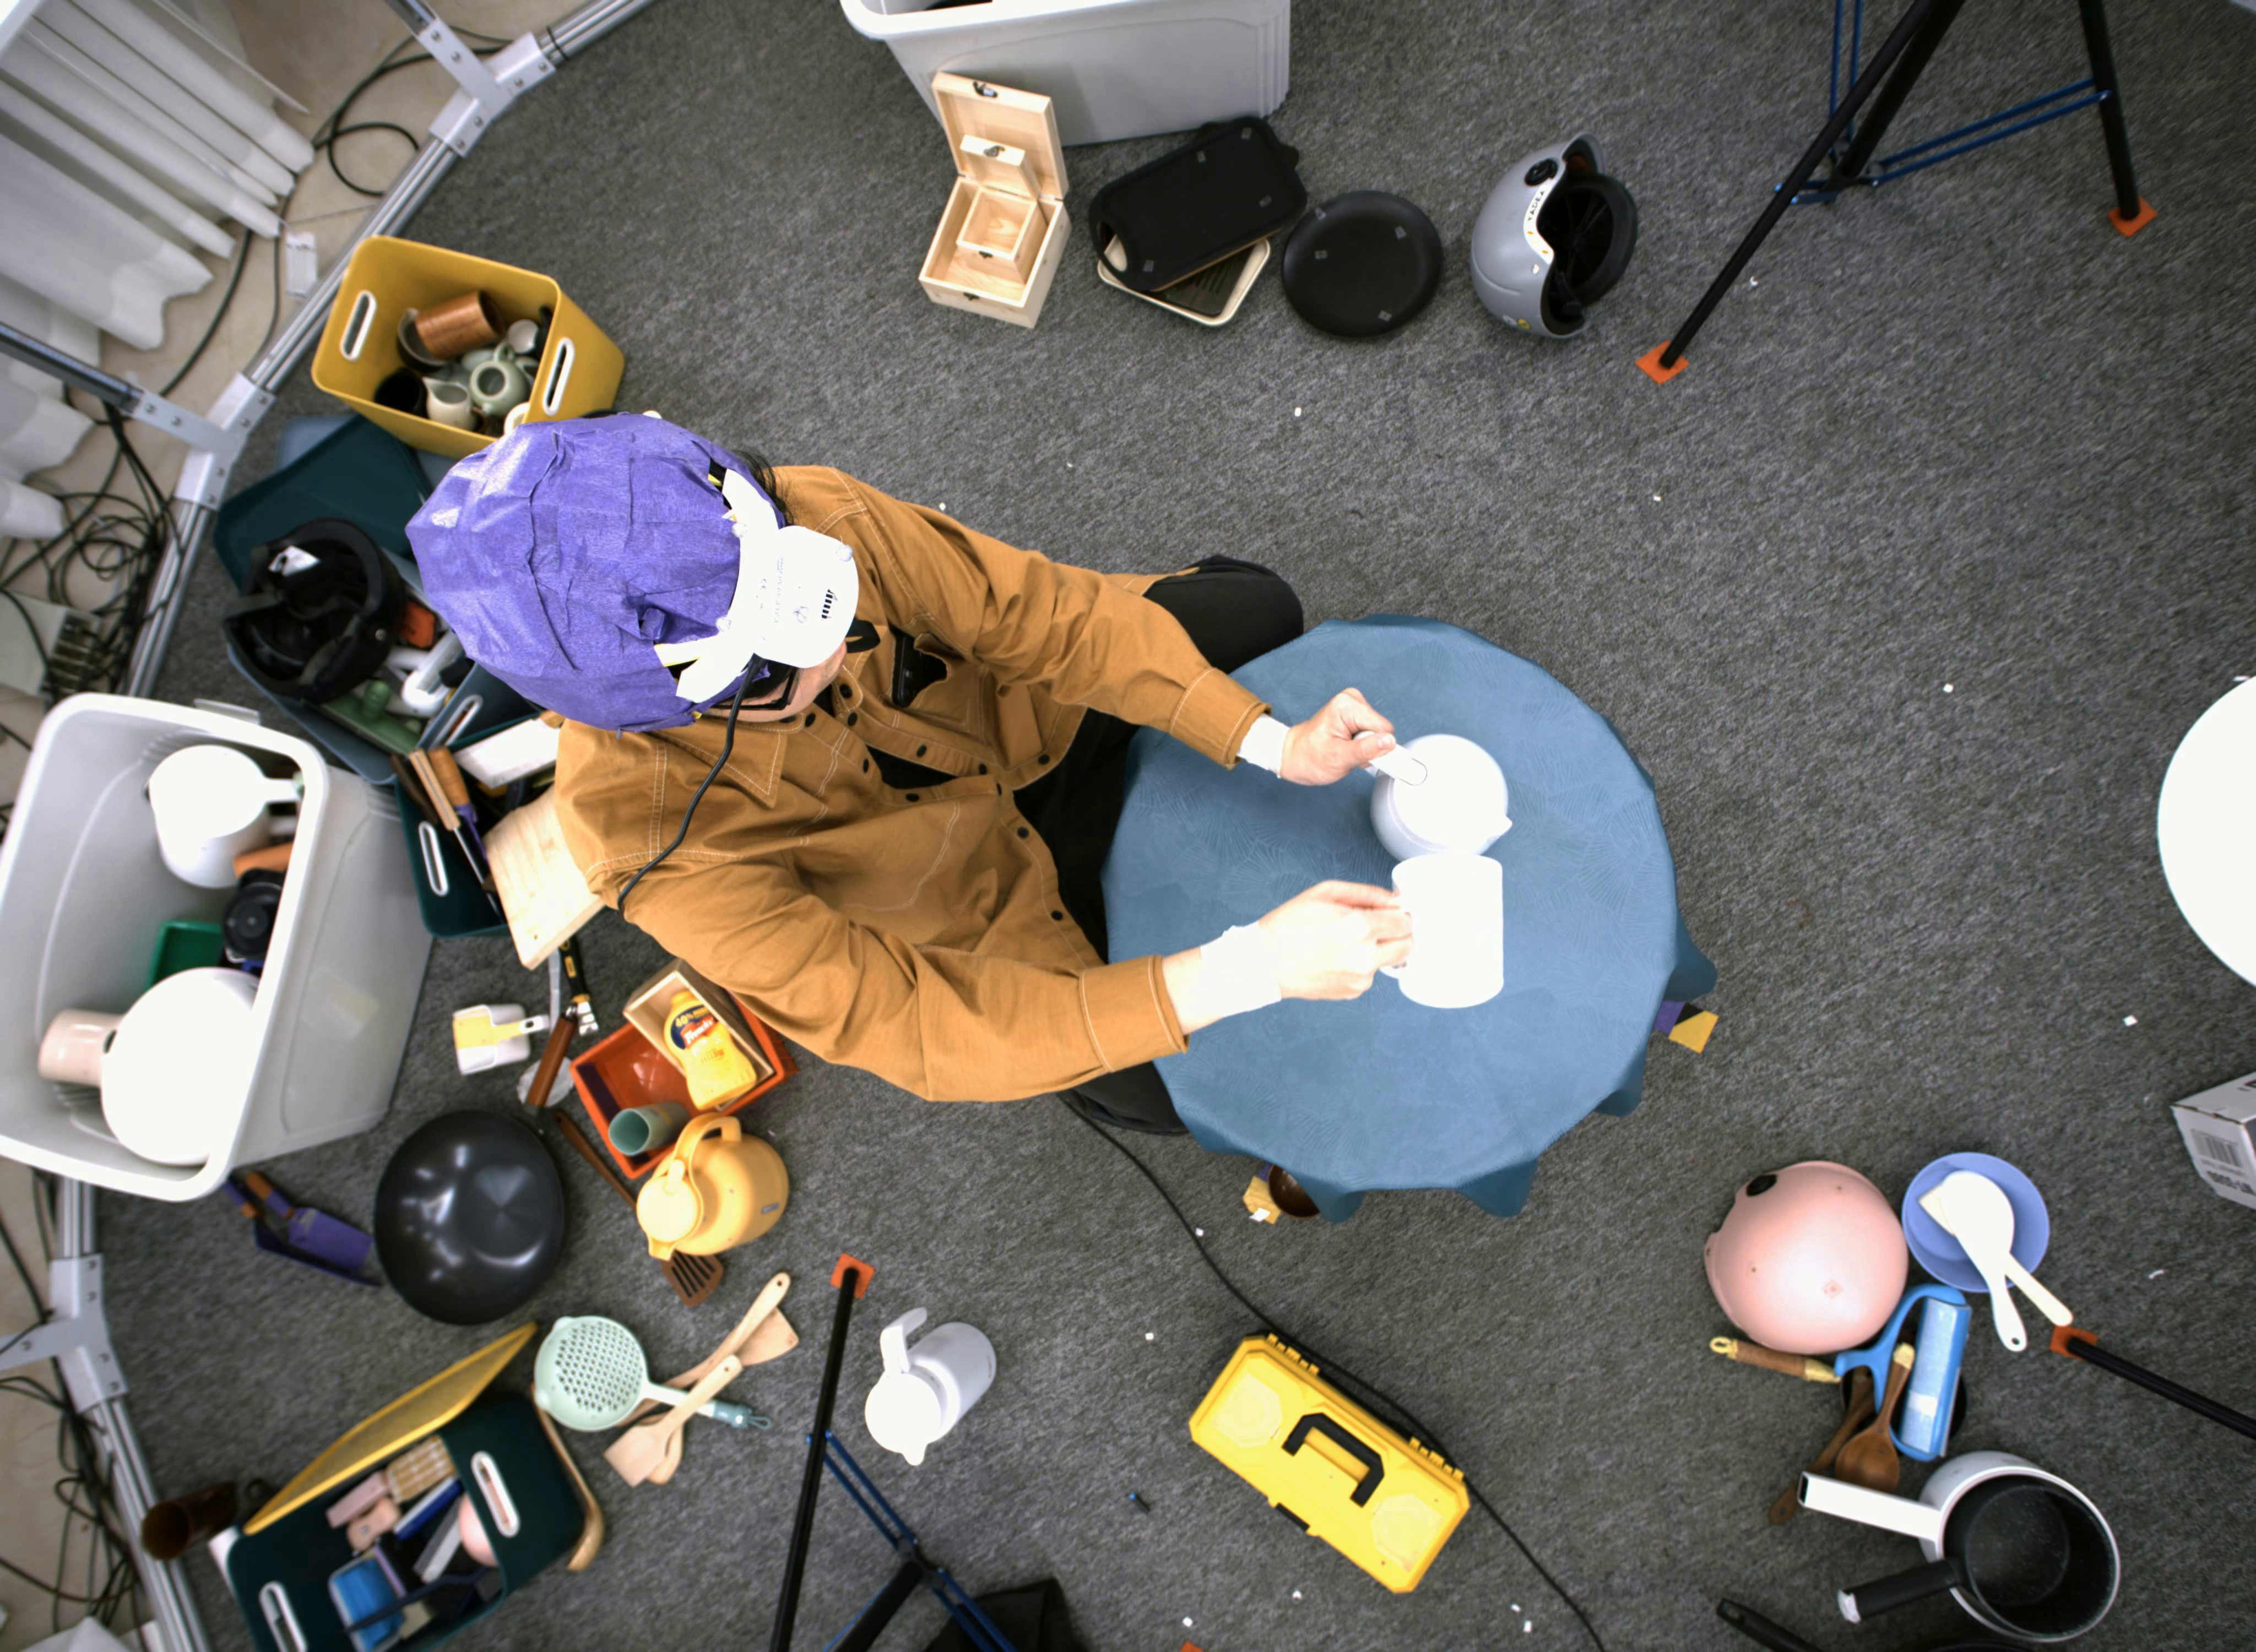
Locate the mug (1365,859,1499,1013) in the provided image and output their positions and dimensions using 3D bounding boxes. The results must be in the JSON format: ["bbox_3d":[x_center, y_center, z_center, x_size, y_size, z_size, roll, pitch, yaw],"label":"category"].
[{"bbox_3d":[0.240,0.090,1.100,0.117,0.084,0.103,-15,110,-26],"label":"mug"}]

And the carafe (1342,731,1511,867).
[{"bbox_3d":[0.279,-0.034,1.304,0.167,0.248,0.133,33,95,10],"label":"carafe"}]
